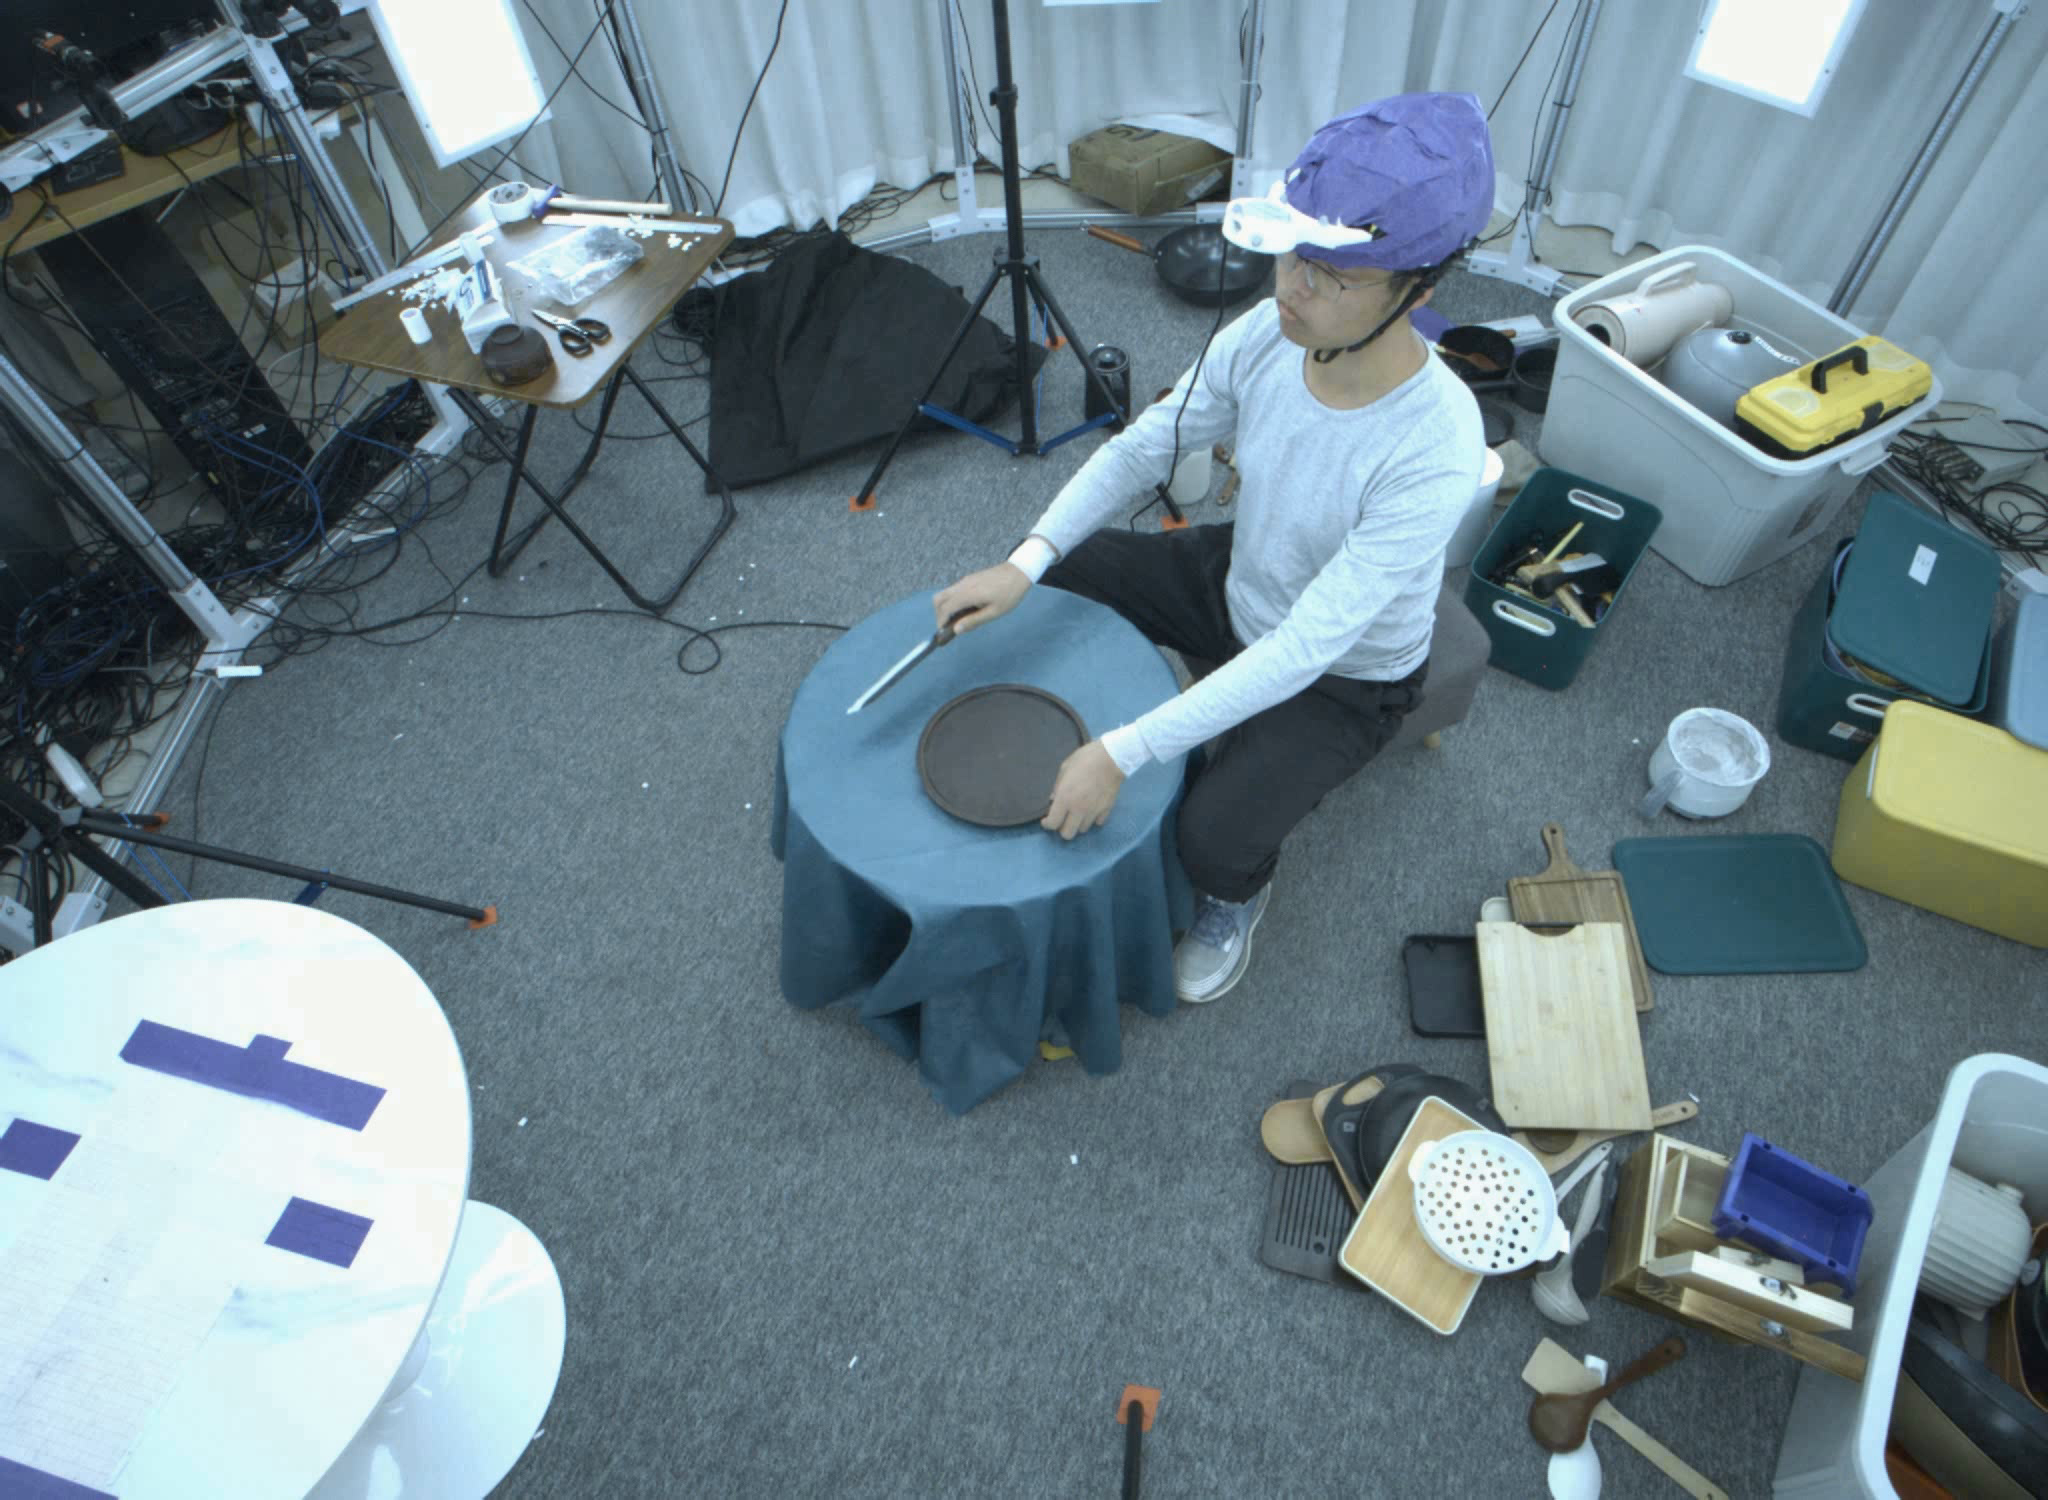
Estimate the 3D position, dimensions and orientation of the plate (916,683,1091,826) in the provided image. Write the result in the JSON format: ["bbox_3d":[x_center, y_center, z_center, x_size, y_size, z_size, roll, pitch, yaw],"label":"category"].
[{"bbox_3d":[-0.030,0.005,1.777,0.254,0.029,0.252,0,52,1],"label":"plate"}]

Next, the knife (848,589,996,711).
[{"bbox_3d":[-0.151,-0.147,1.806,0.290,0.020,0.049,-42,28,-18],"label":"knife"}]
